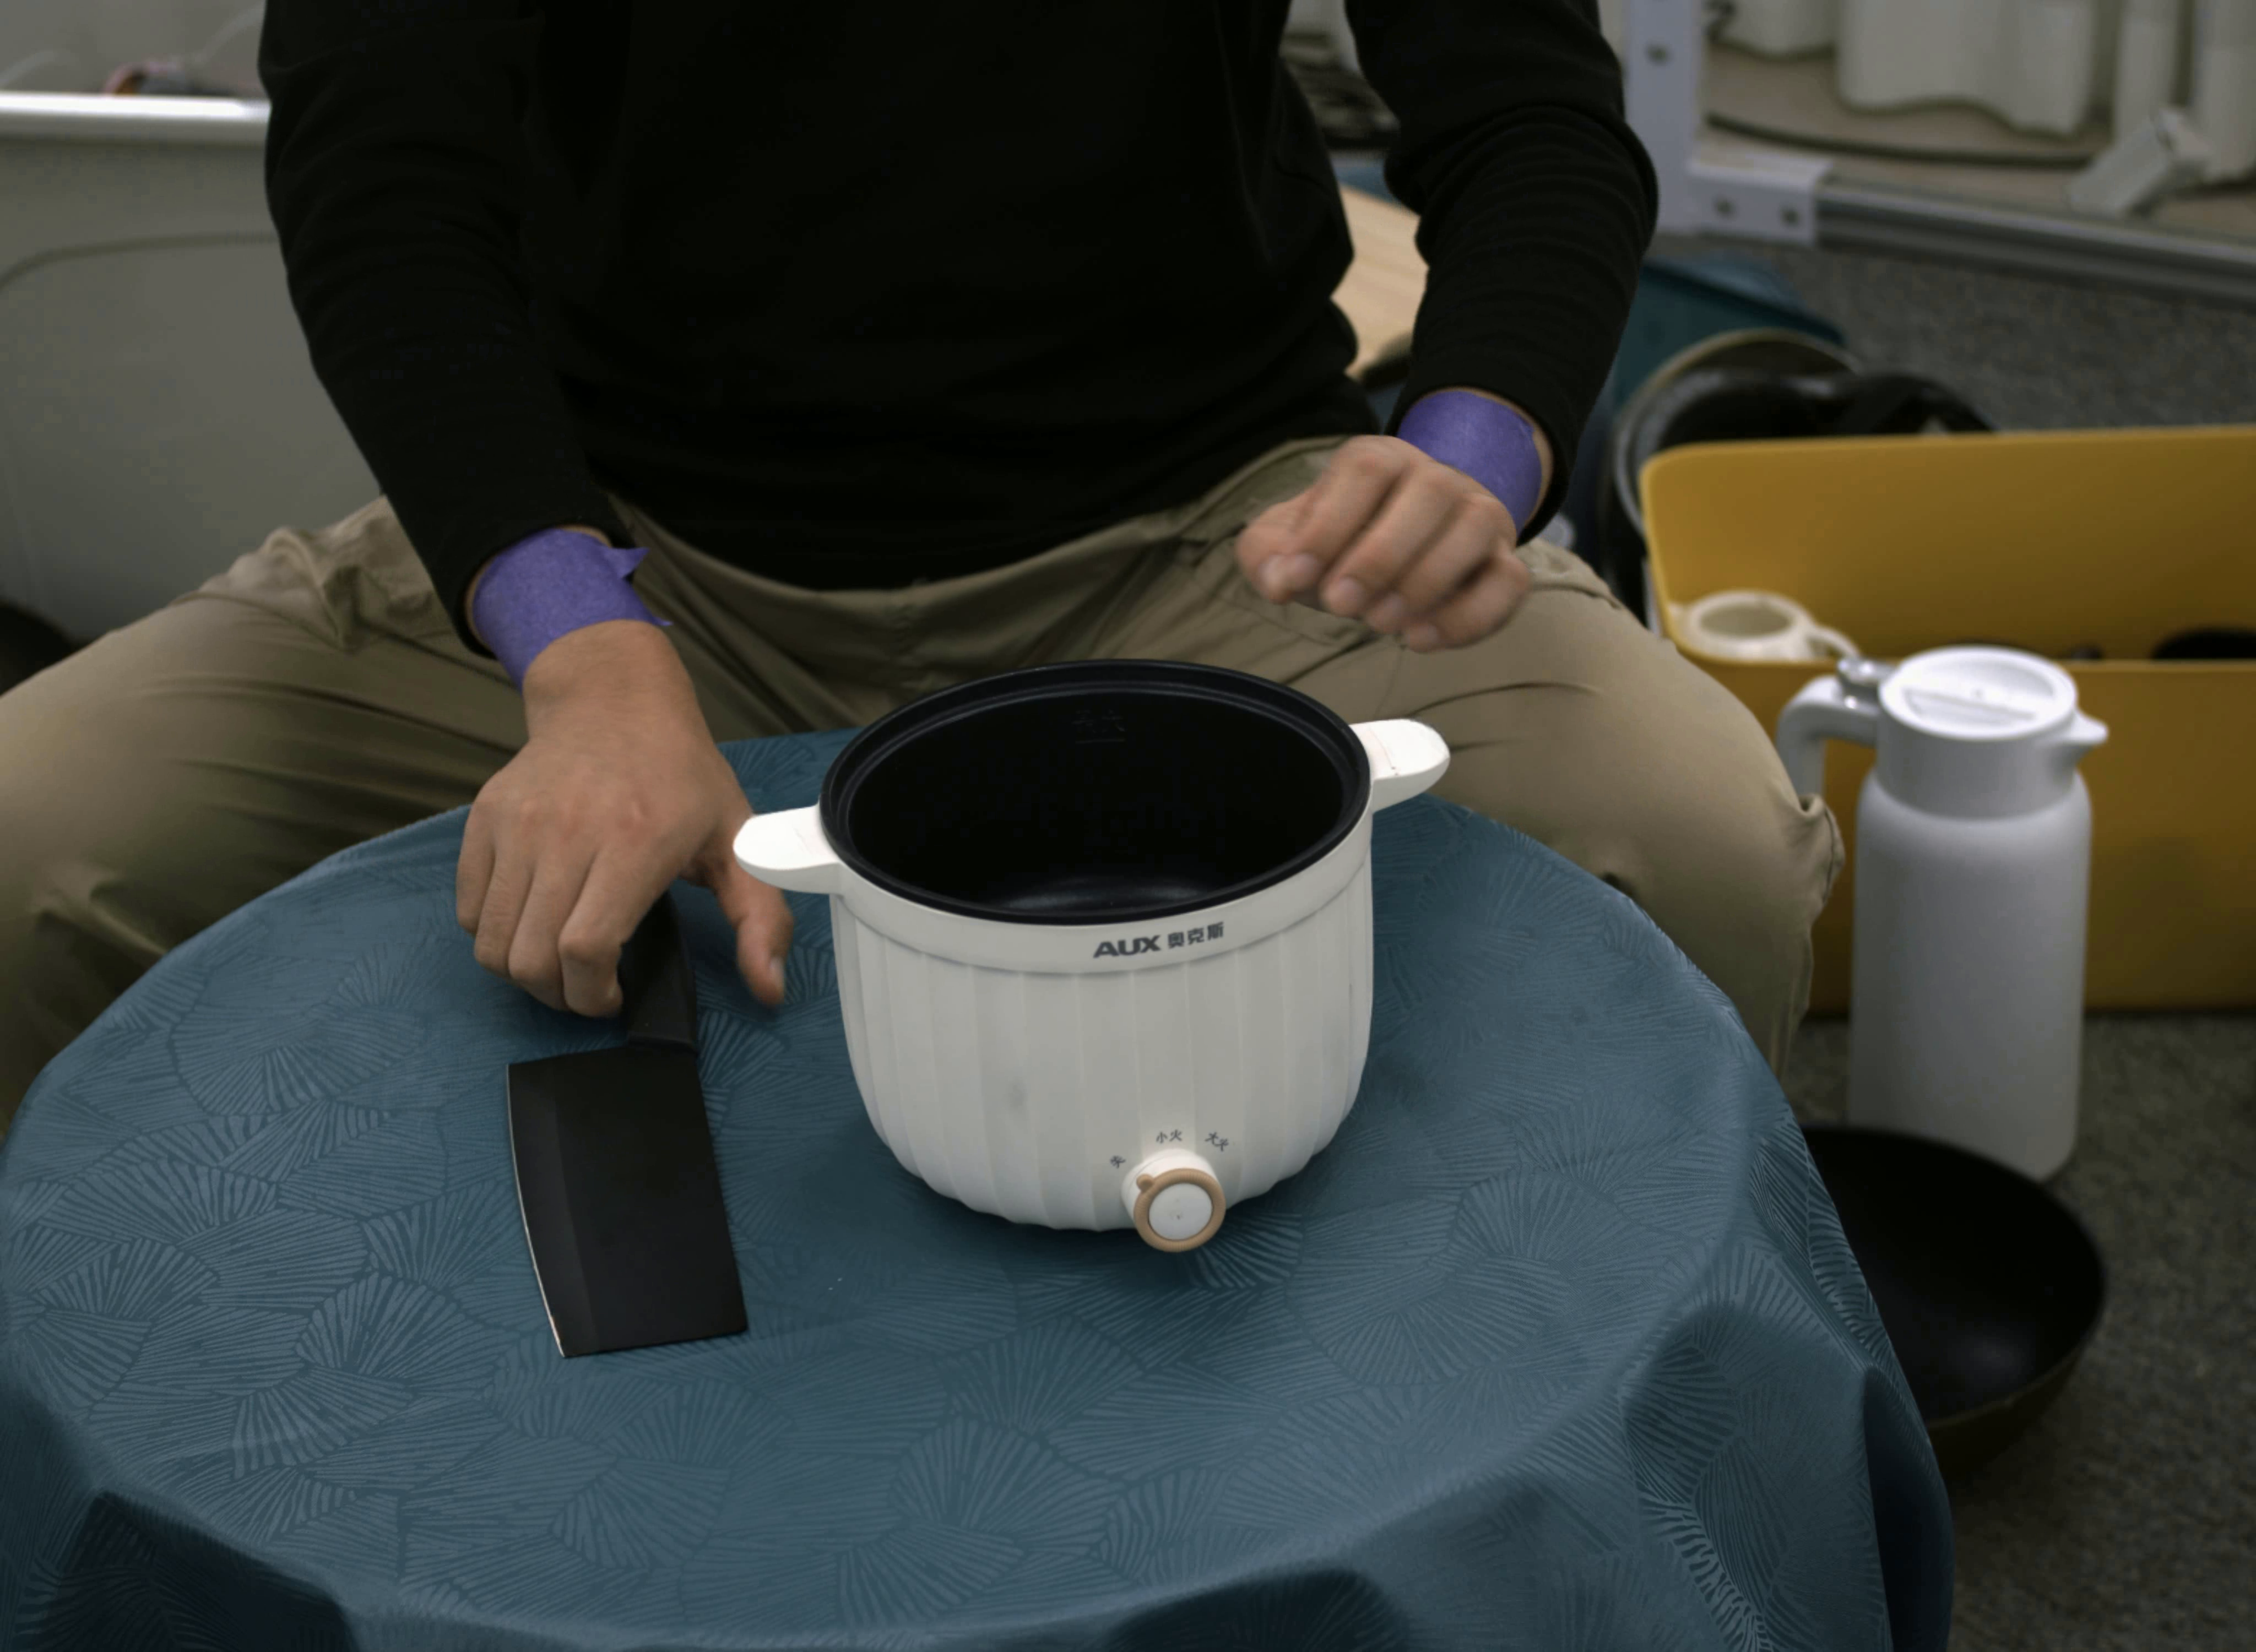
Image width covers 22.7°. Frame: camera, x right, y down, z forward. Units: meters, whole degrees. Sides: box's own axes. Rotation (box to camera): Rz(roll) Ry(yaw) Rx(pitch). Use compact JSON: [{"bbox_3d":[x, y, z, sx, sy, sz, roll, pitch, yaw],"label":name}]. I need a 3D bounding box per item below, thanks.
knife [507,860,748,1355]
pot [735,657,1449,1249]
[{"bbox_3d":[-0.173,0.093,1.916,0.080,0.020,0.307,-4,29,-3],"label":"knife"},{"bbox_3d":[-0.005,0.046,1.857,0.240,0.141,0.192,-10,24,-11],"label":"pot"}]
